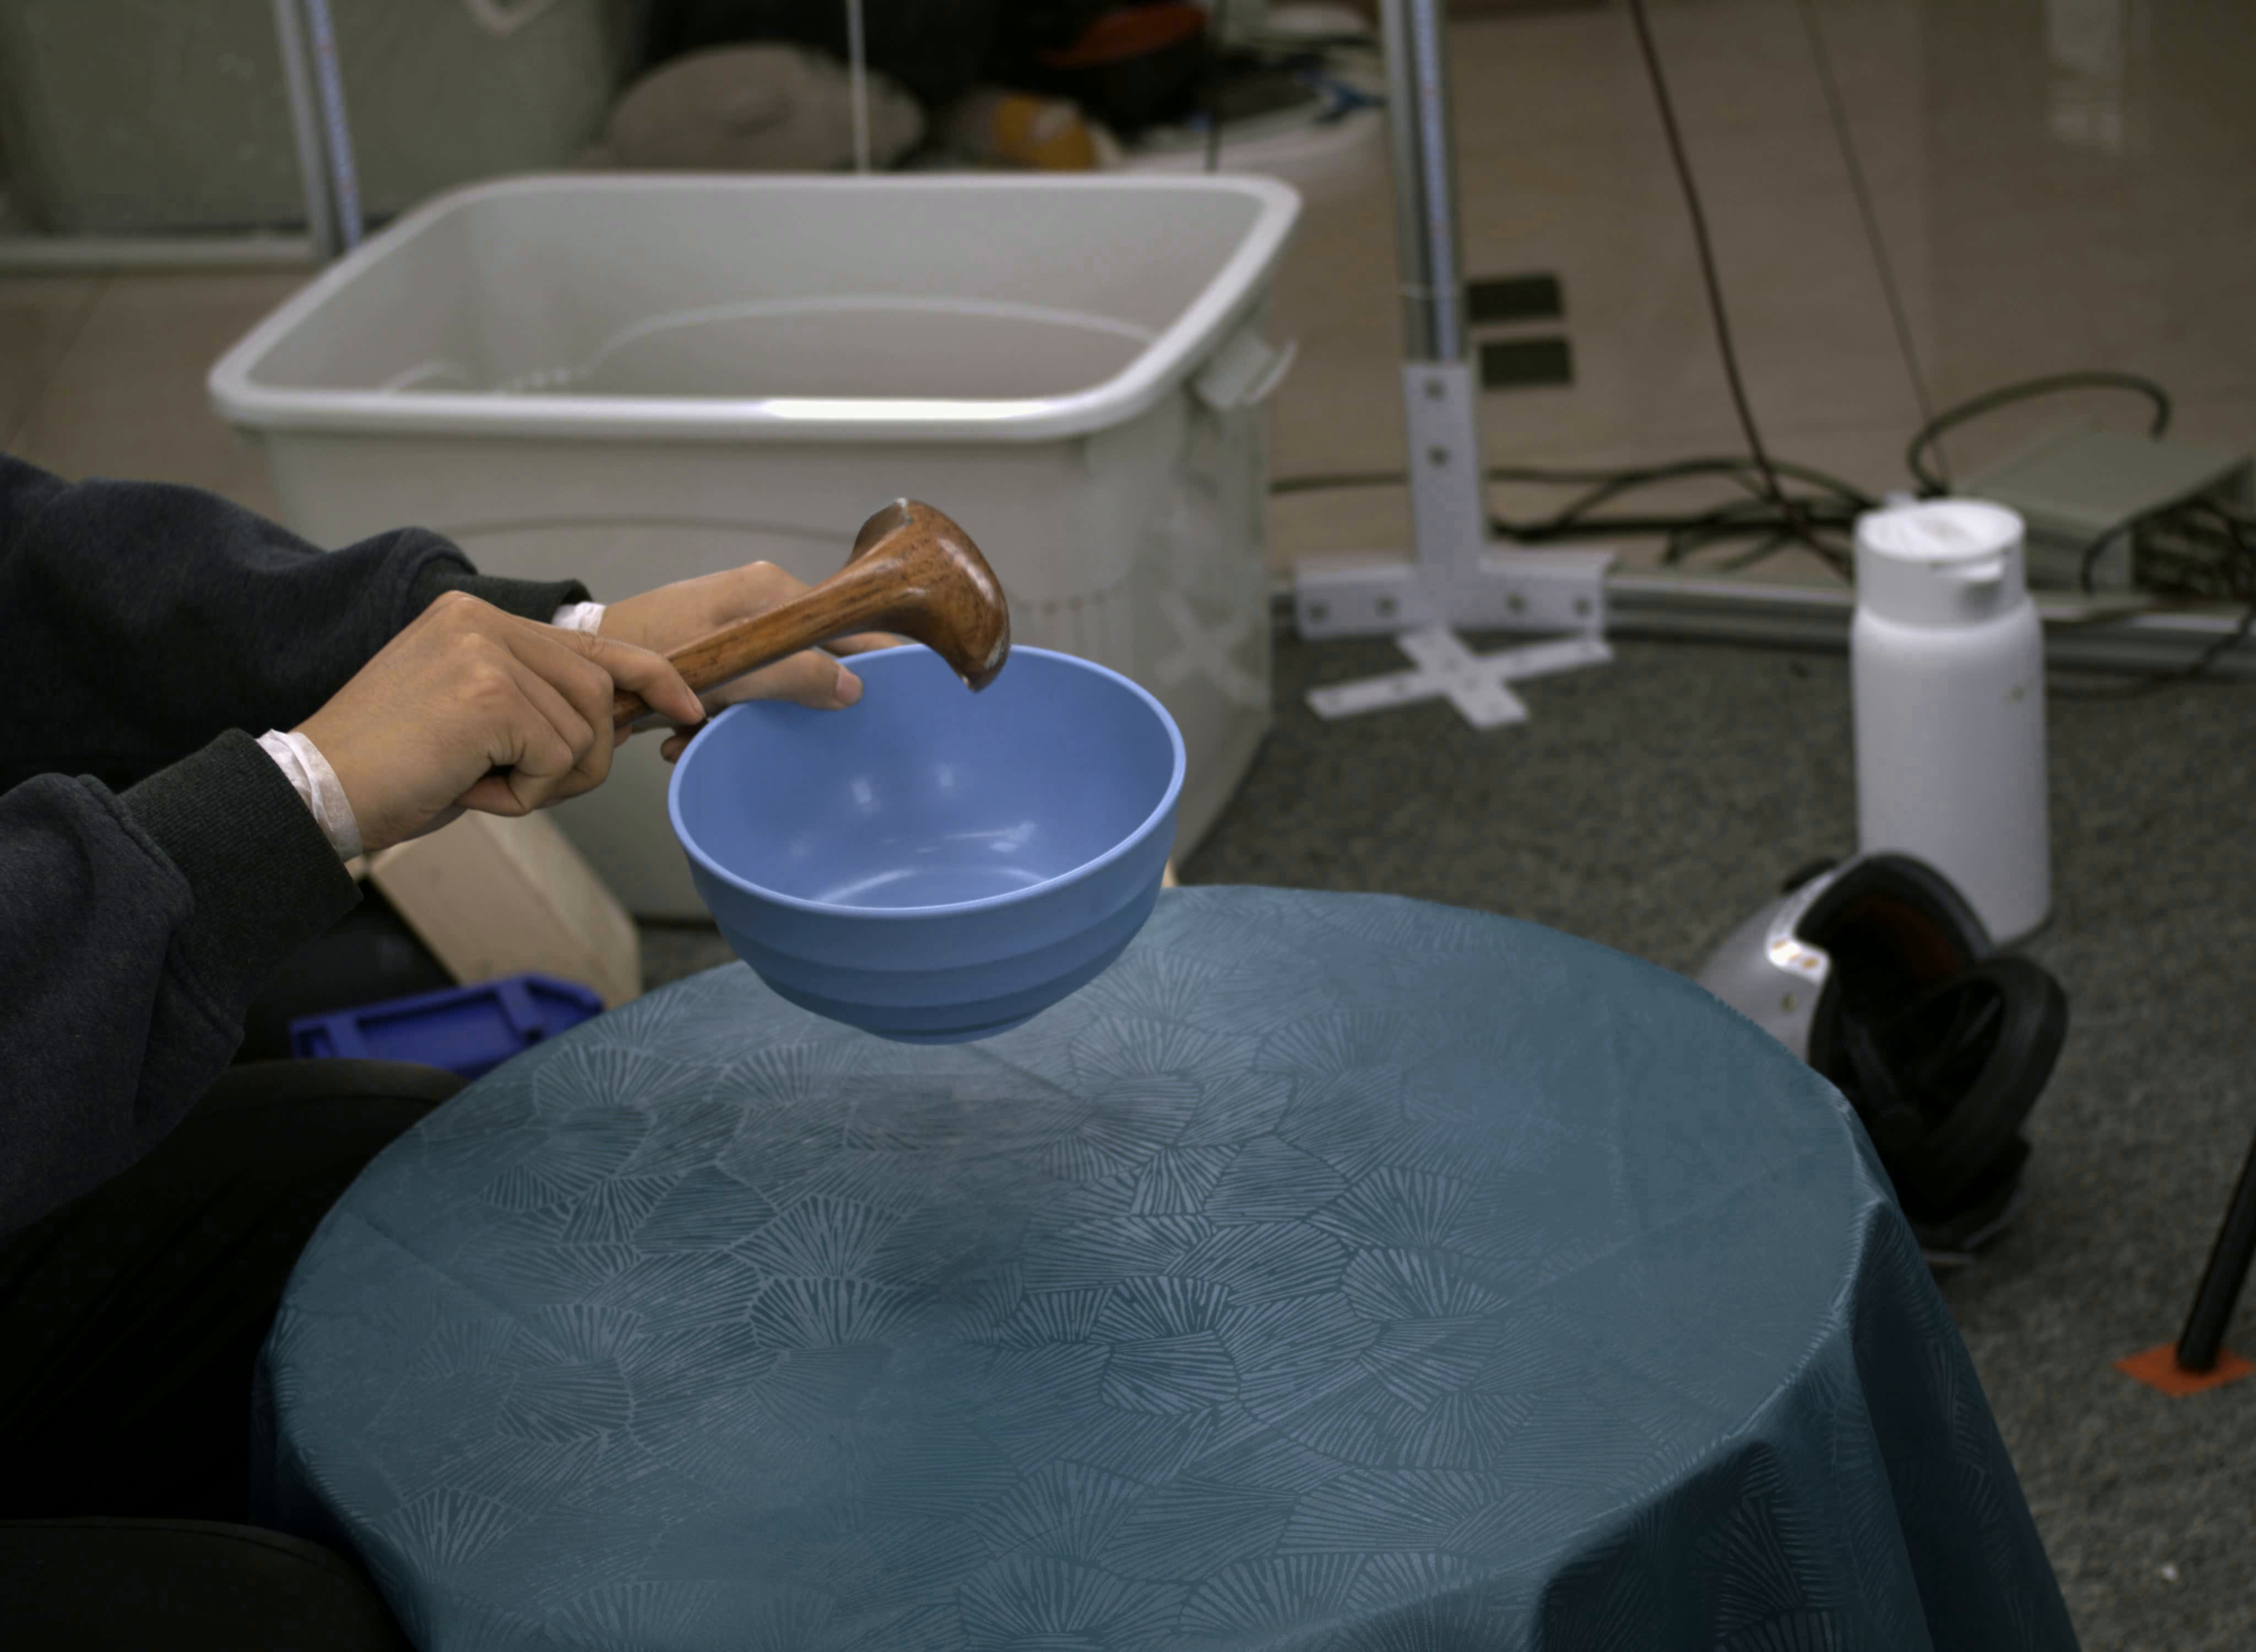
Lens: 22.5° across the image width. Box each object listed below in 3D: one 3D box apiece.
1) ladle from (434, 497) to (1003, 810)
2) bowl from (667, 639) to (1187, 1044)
[{"bbox_3d":[-0.149,-0.050,1.998,0.272,0.077,0.081,-26,77,-38],"label":"ladle"},{"bbox_3d":[-0.072,0.019,2.149,0.196,0.097,0.193,-4,33,3],"label":"bowl"}]
